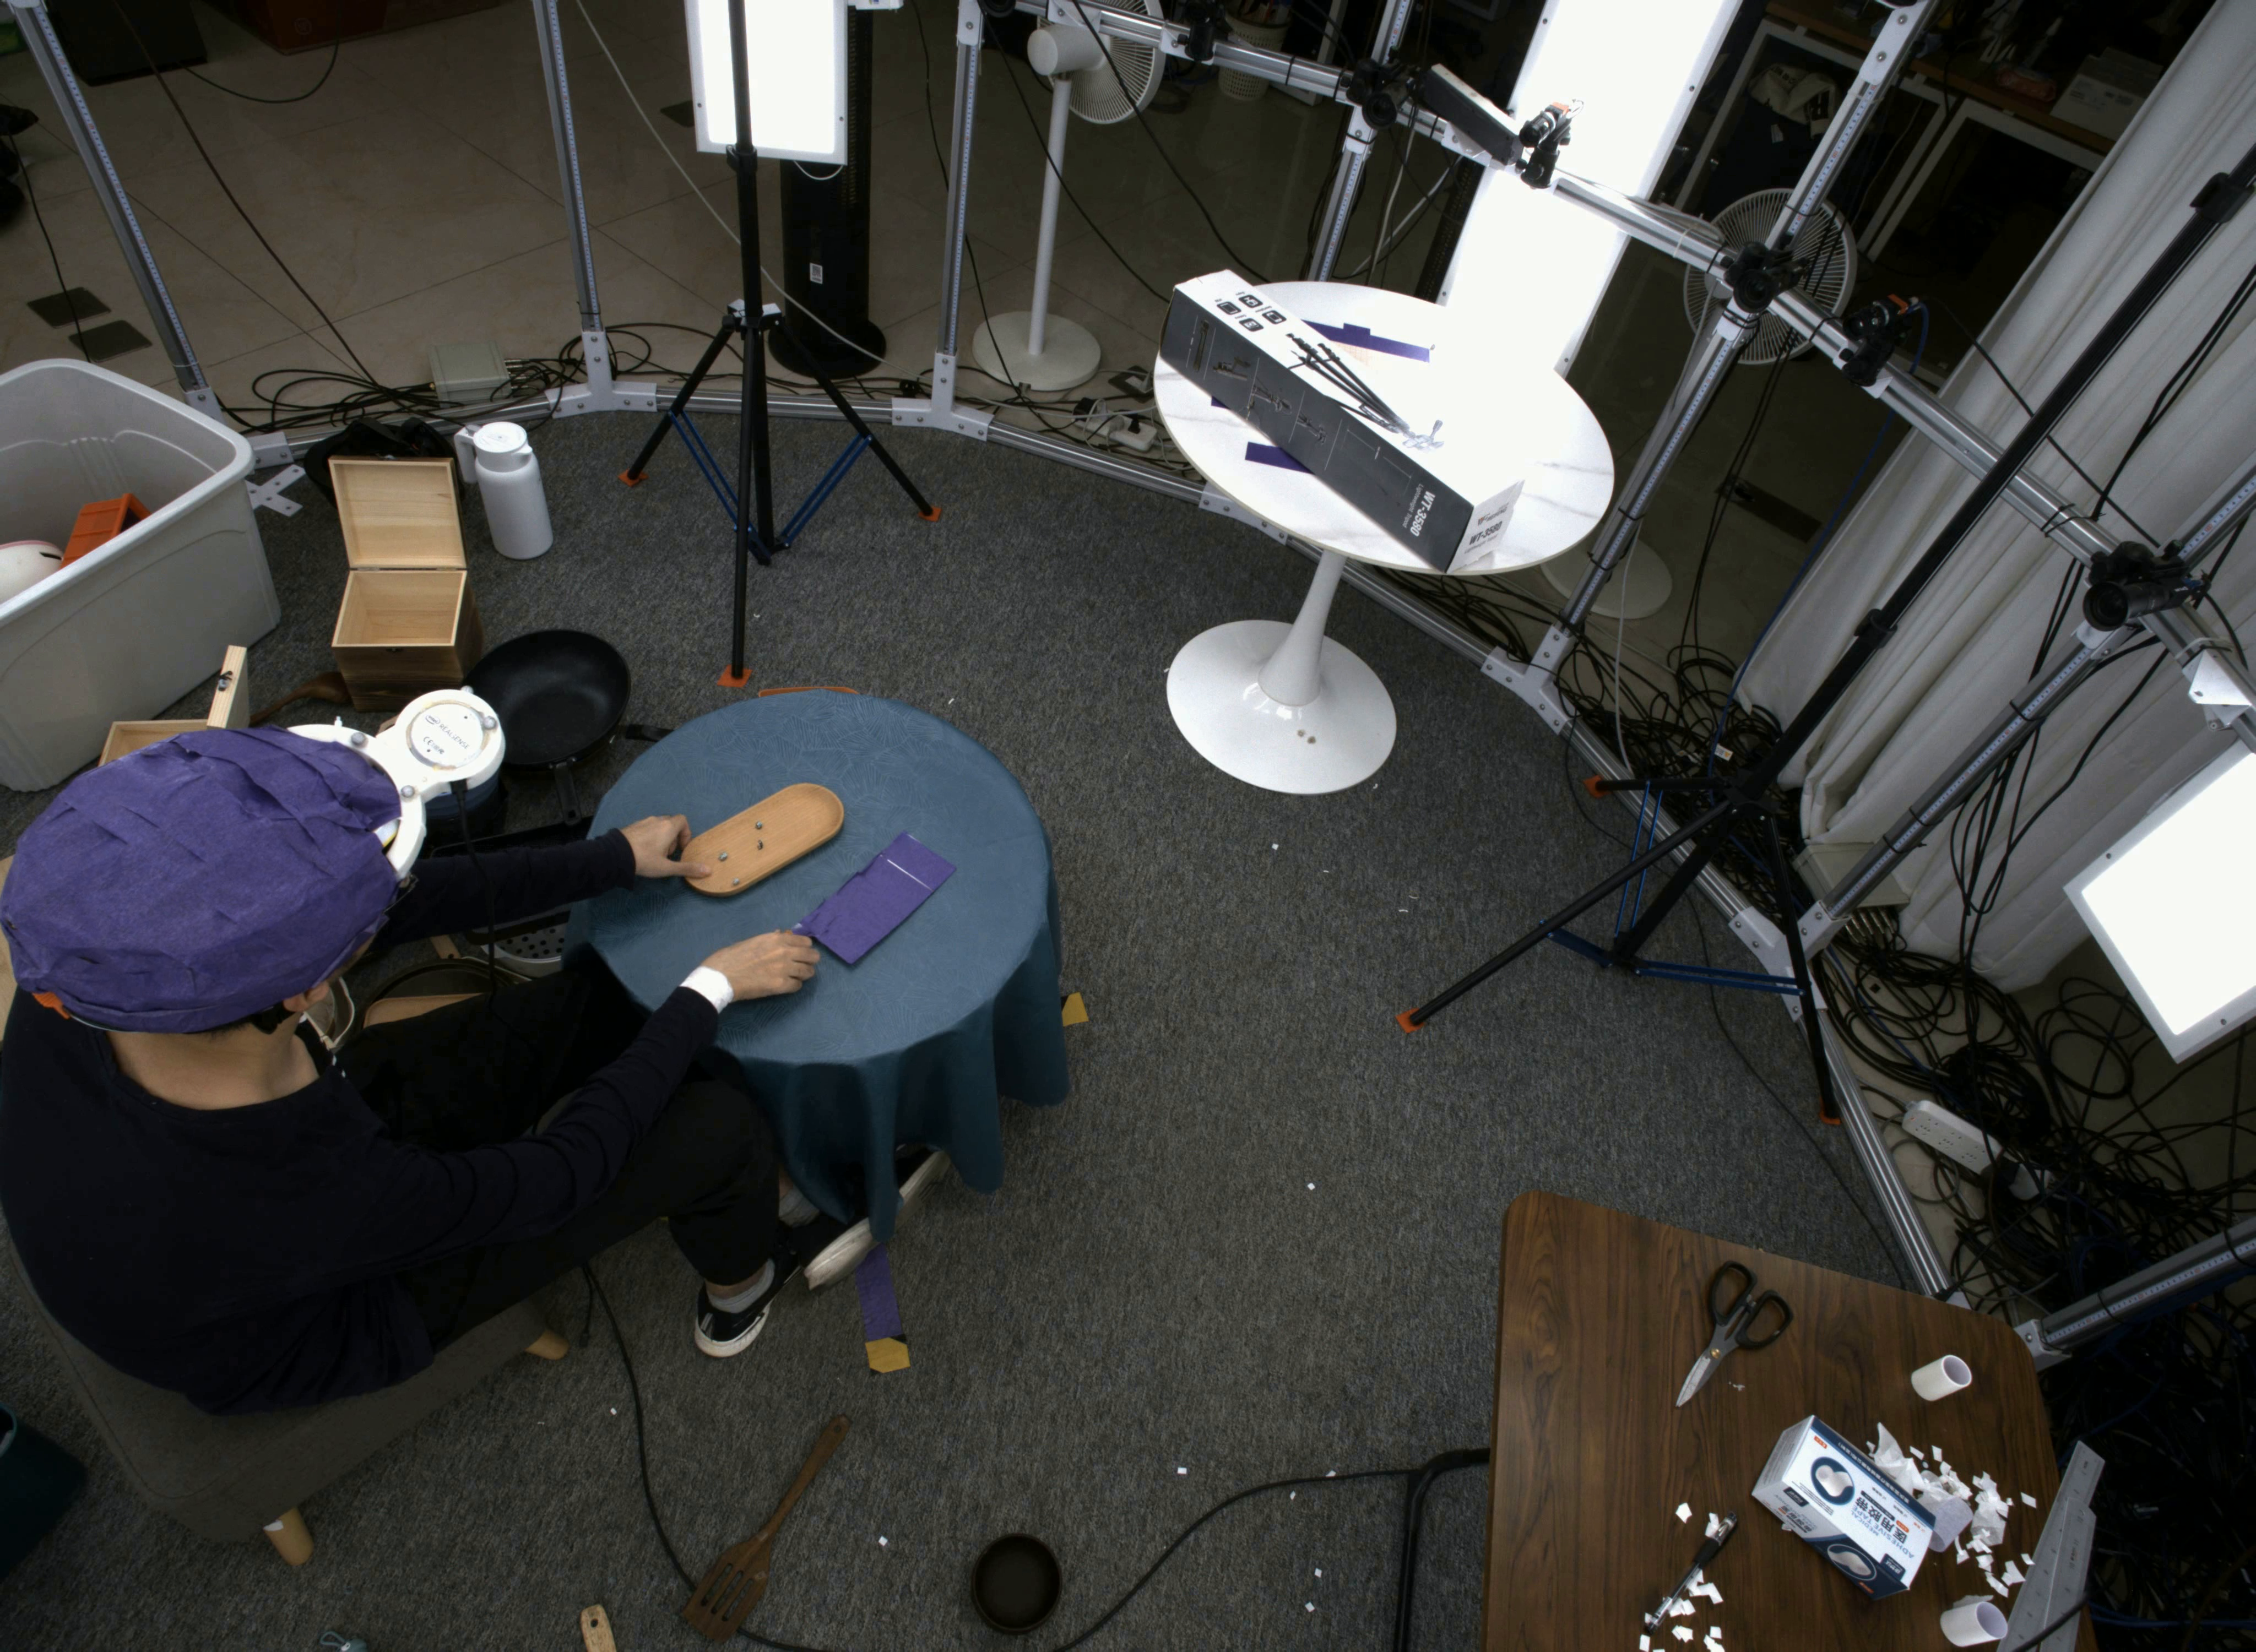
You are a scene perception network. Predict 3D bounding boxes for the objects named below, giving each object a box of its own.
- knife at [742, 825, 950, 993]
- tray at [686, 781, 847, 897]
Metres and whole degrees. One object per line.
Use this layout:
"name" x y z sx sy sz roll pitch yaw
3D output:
"knife" -0.349 0.113 1.653 0.102 0.033 0.315 34 53 11
"tray" -0.473 0.014 1.702 0.099 0.021 0.232 43 54 17
